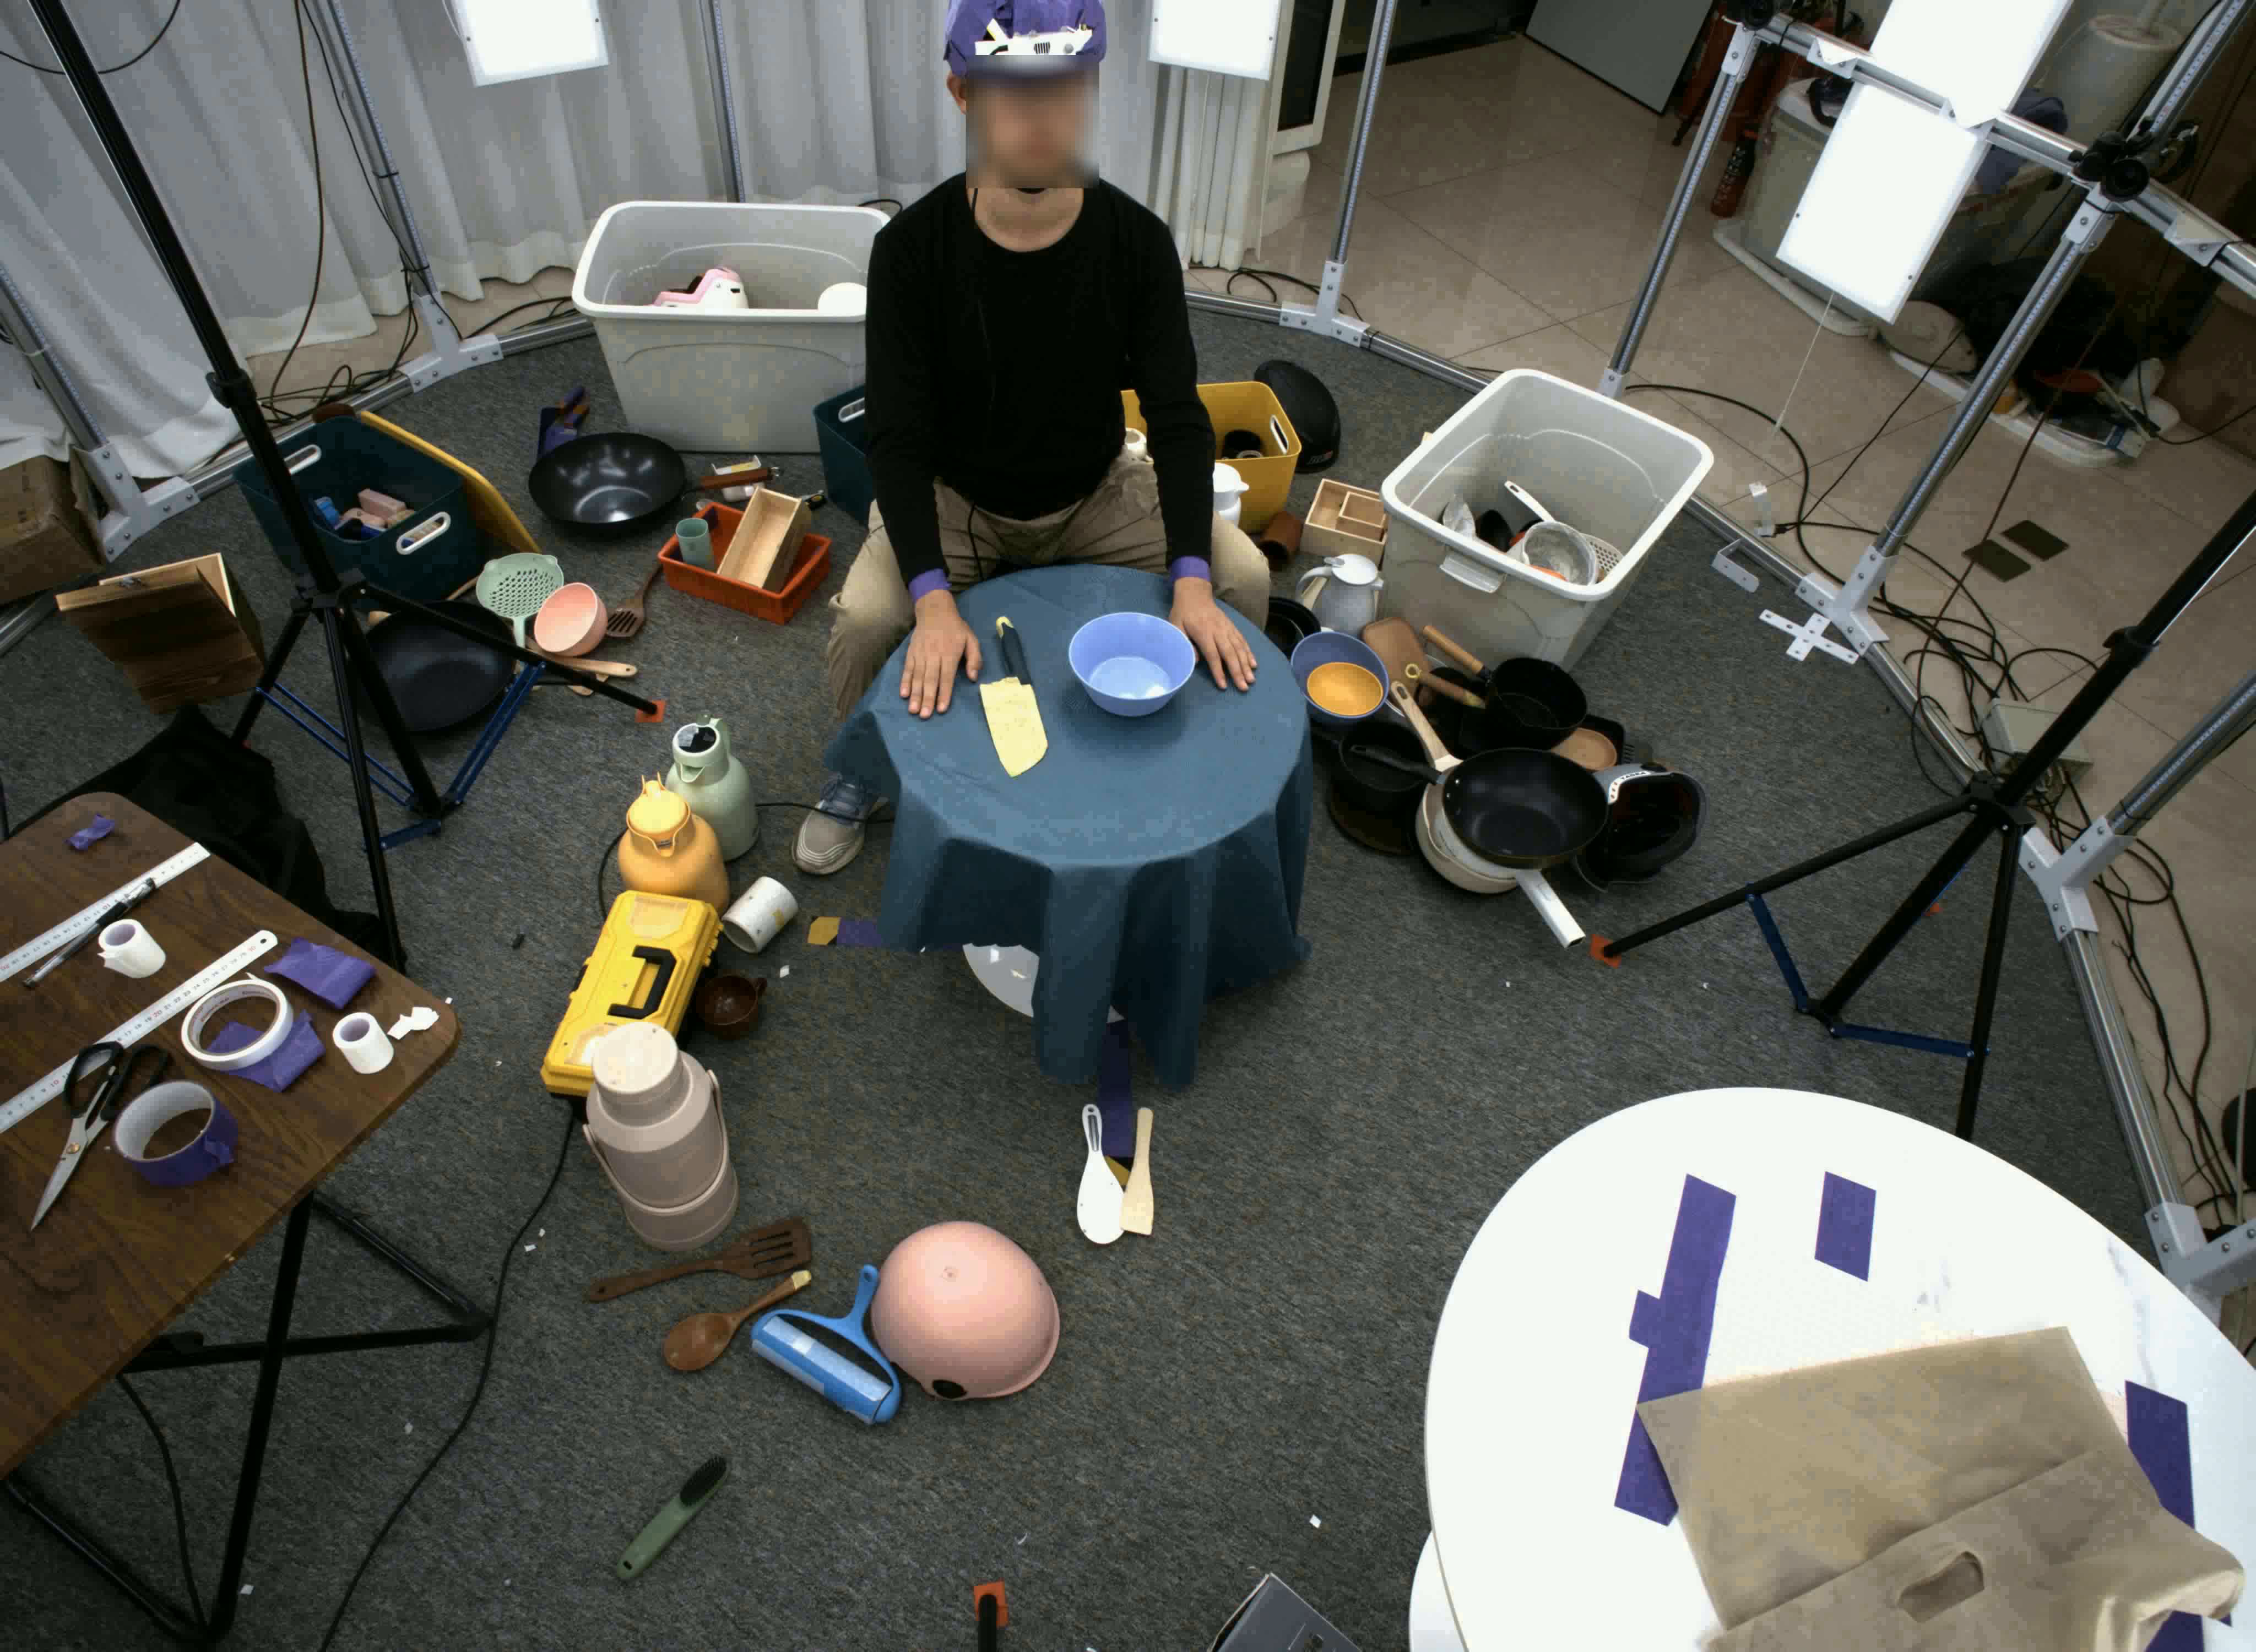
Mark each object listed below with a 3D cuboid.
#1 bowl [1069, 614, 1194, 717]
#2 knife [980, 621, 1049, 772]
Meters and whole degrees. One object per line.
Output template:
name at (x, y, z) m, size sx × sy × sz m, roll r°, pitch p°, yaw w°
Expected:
bowl at (0.003, -0.218, 1.815) m, size 0.176 × 0.068 × 0.180 m, roll 1°, pitch 49°, yaw -2°
knife at (-0.166, -0.185, 1.811) m, size 0.081 × 0.026 × 0.297 m, roll -6°, pitch 51°, yaw -10°
